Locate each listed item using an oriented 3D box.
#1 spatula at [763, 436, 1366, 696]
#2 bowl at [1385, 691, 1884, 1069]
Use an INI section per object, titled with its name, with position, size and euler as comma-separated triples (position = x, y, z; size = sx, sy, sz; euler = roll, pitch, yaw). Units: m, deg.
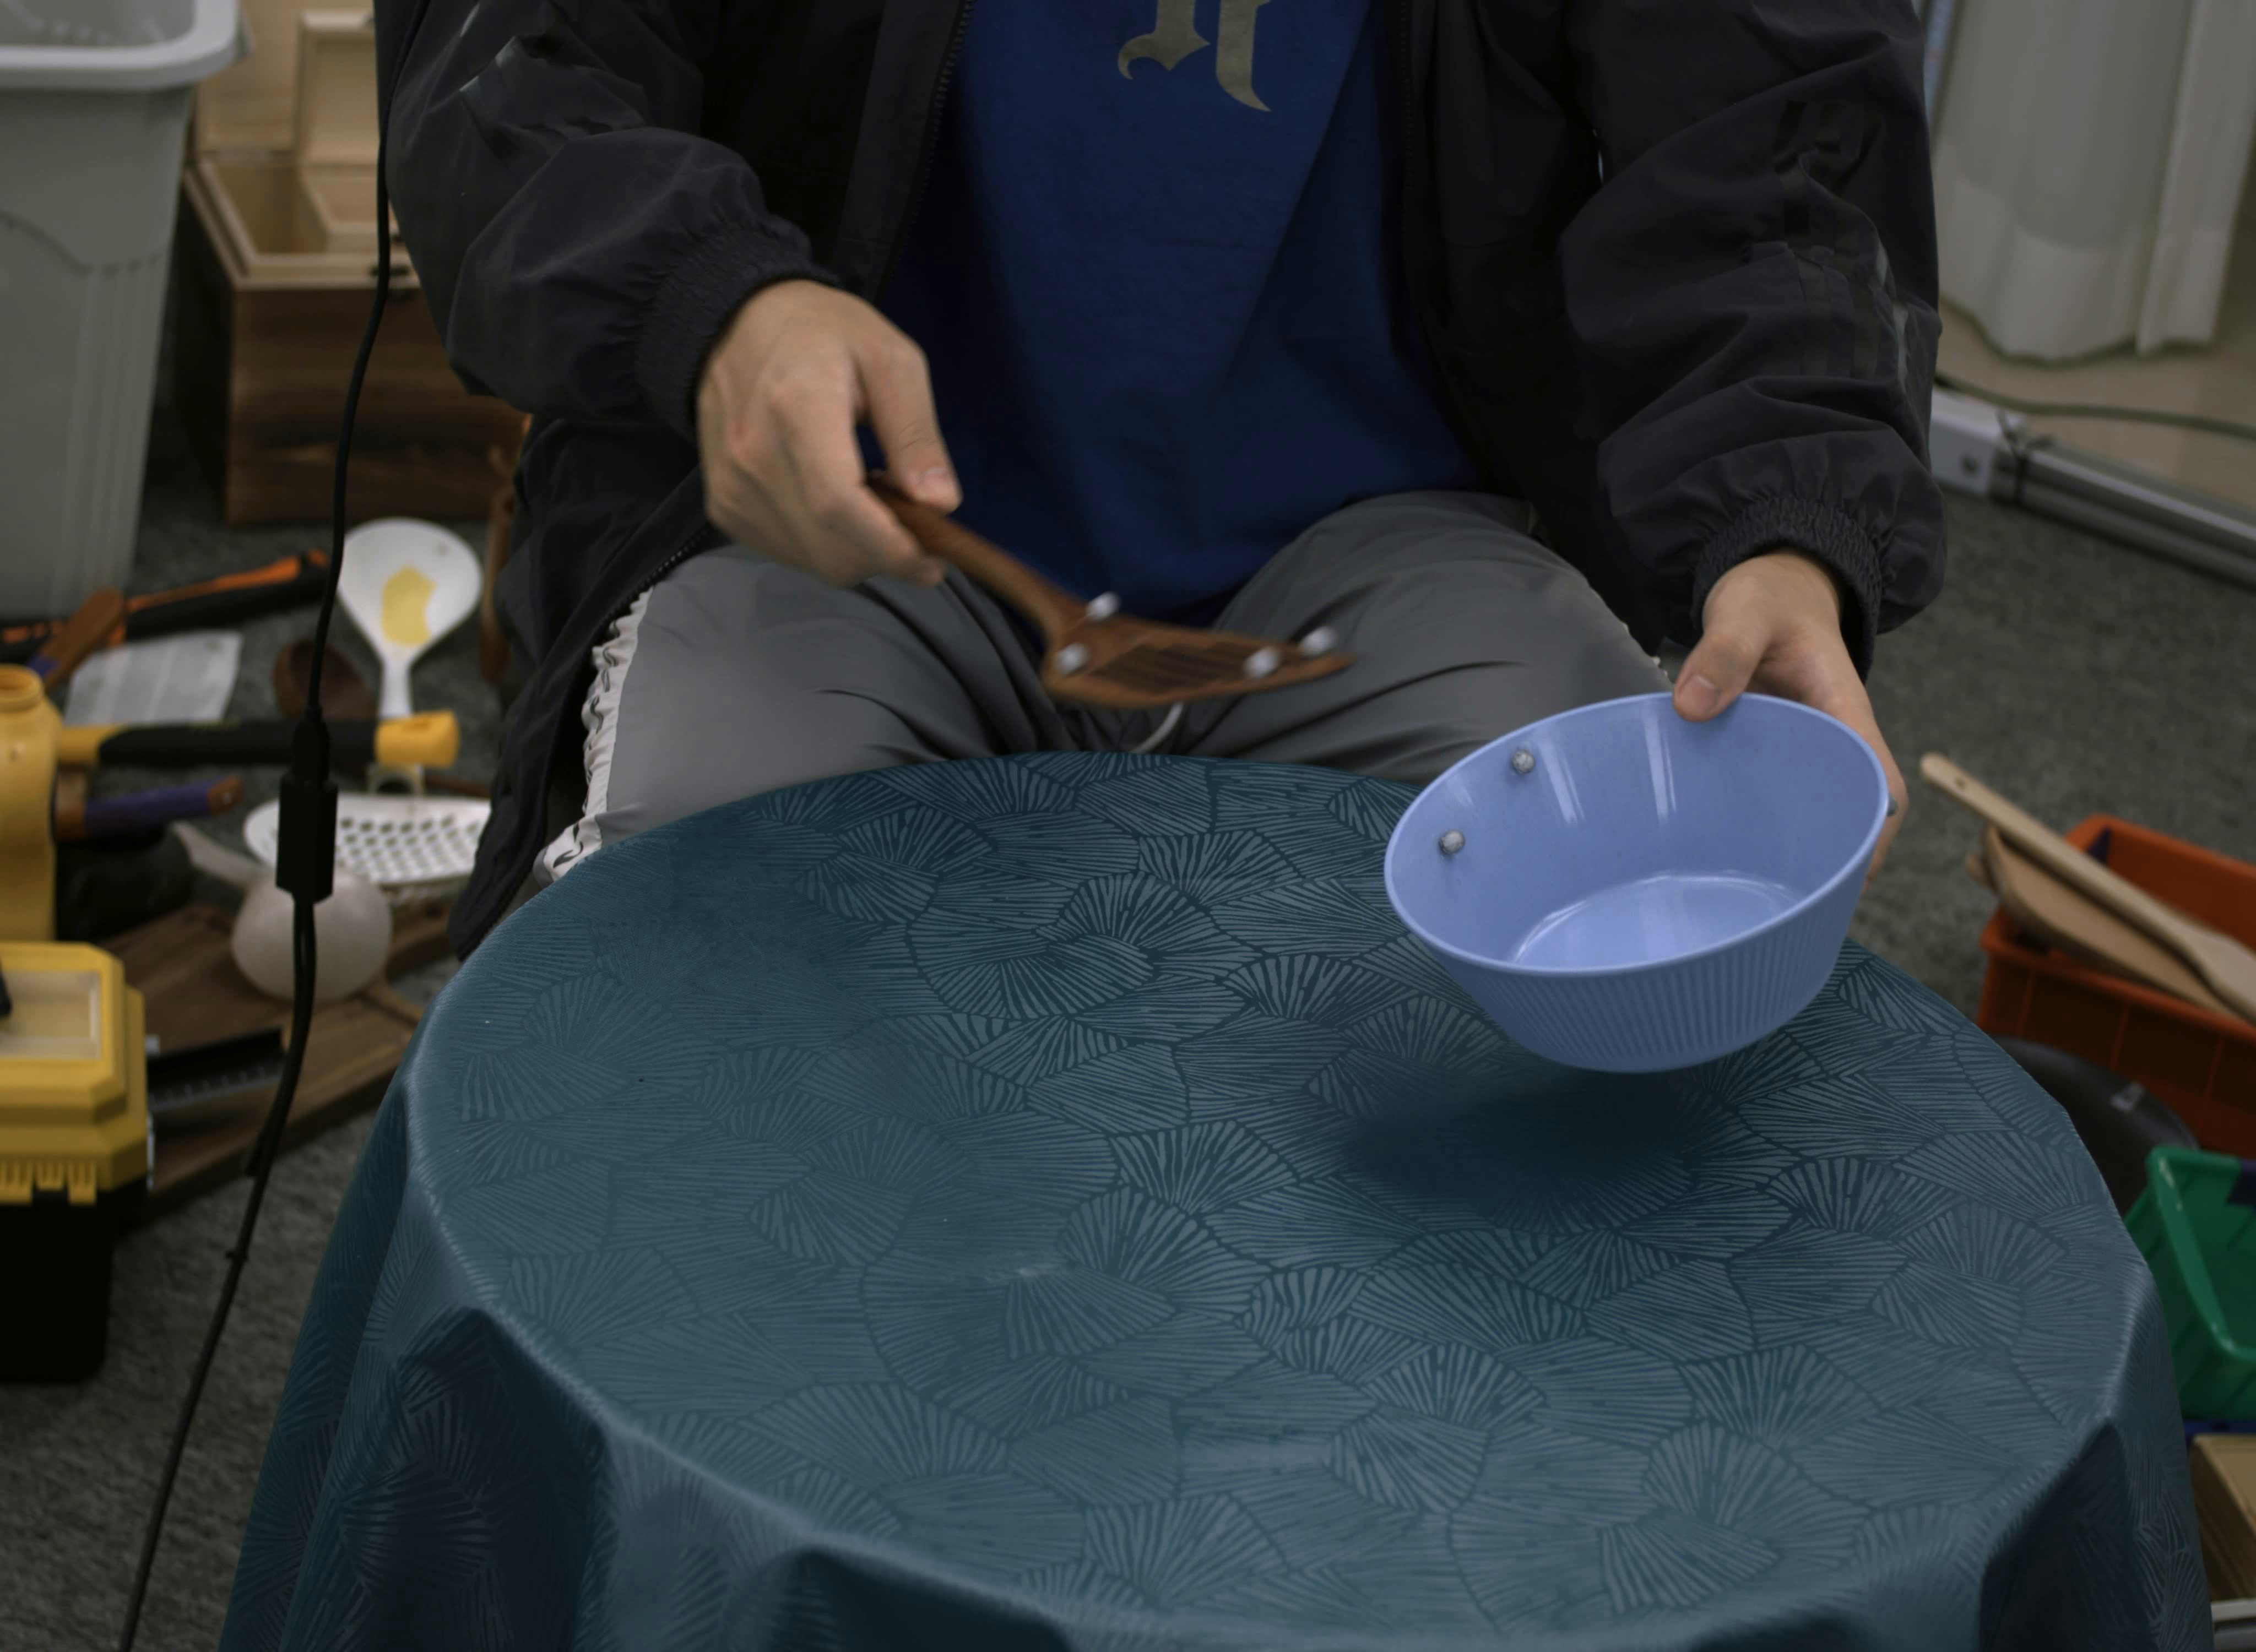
[spatula]
position = -0.043, -0.091, 1.860
size = 0.085, 0.024, 0.390
euler = -11, 20, -26
[bowl]
position = 0.181, 0.026, 1.847
size = 0.176, 0.070, 0.177
euler = -12, 29, 6
